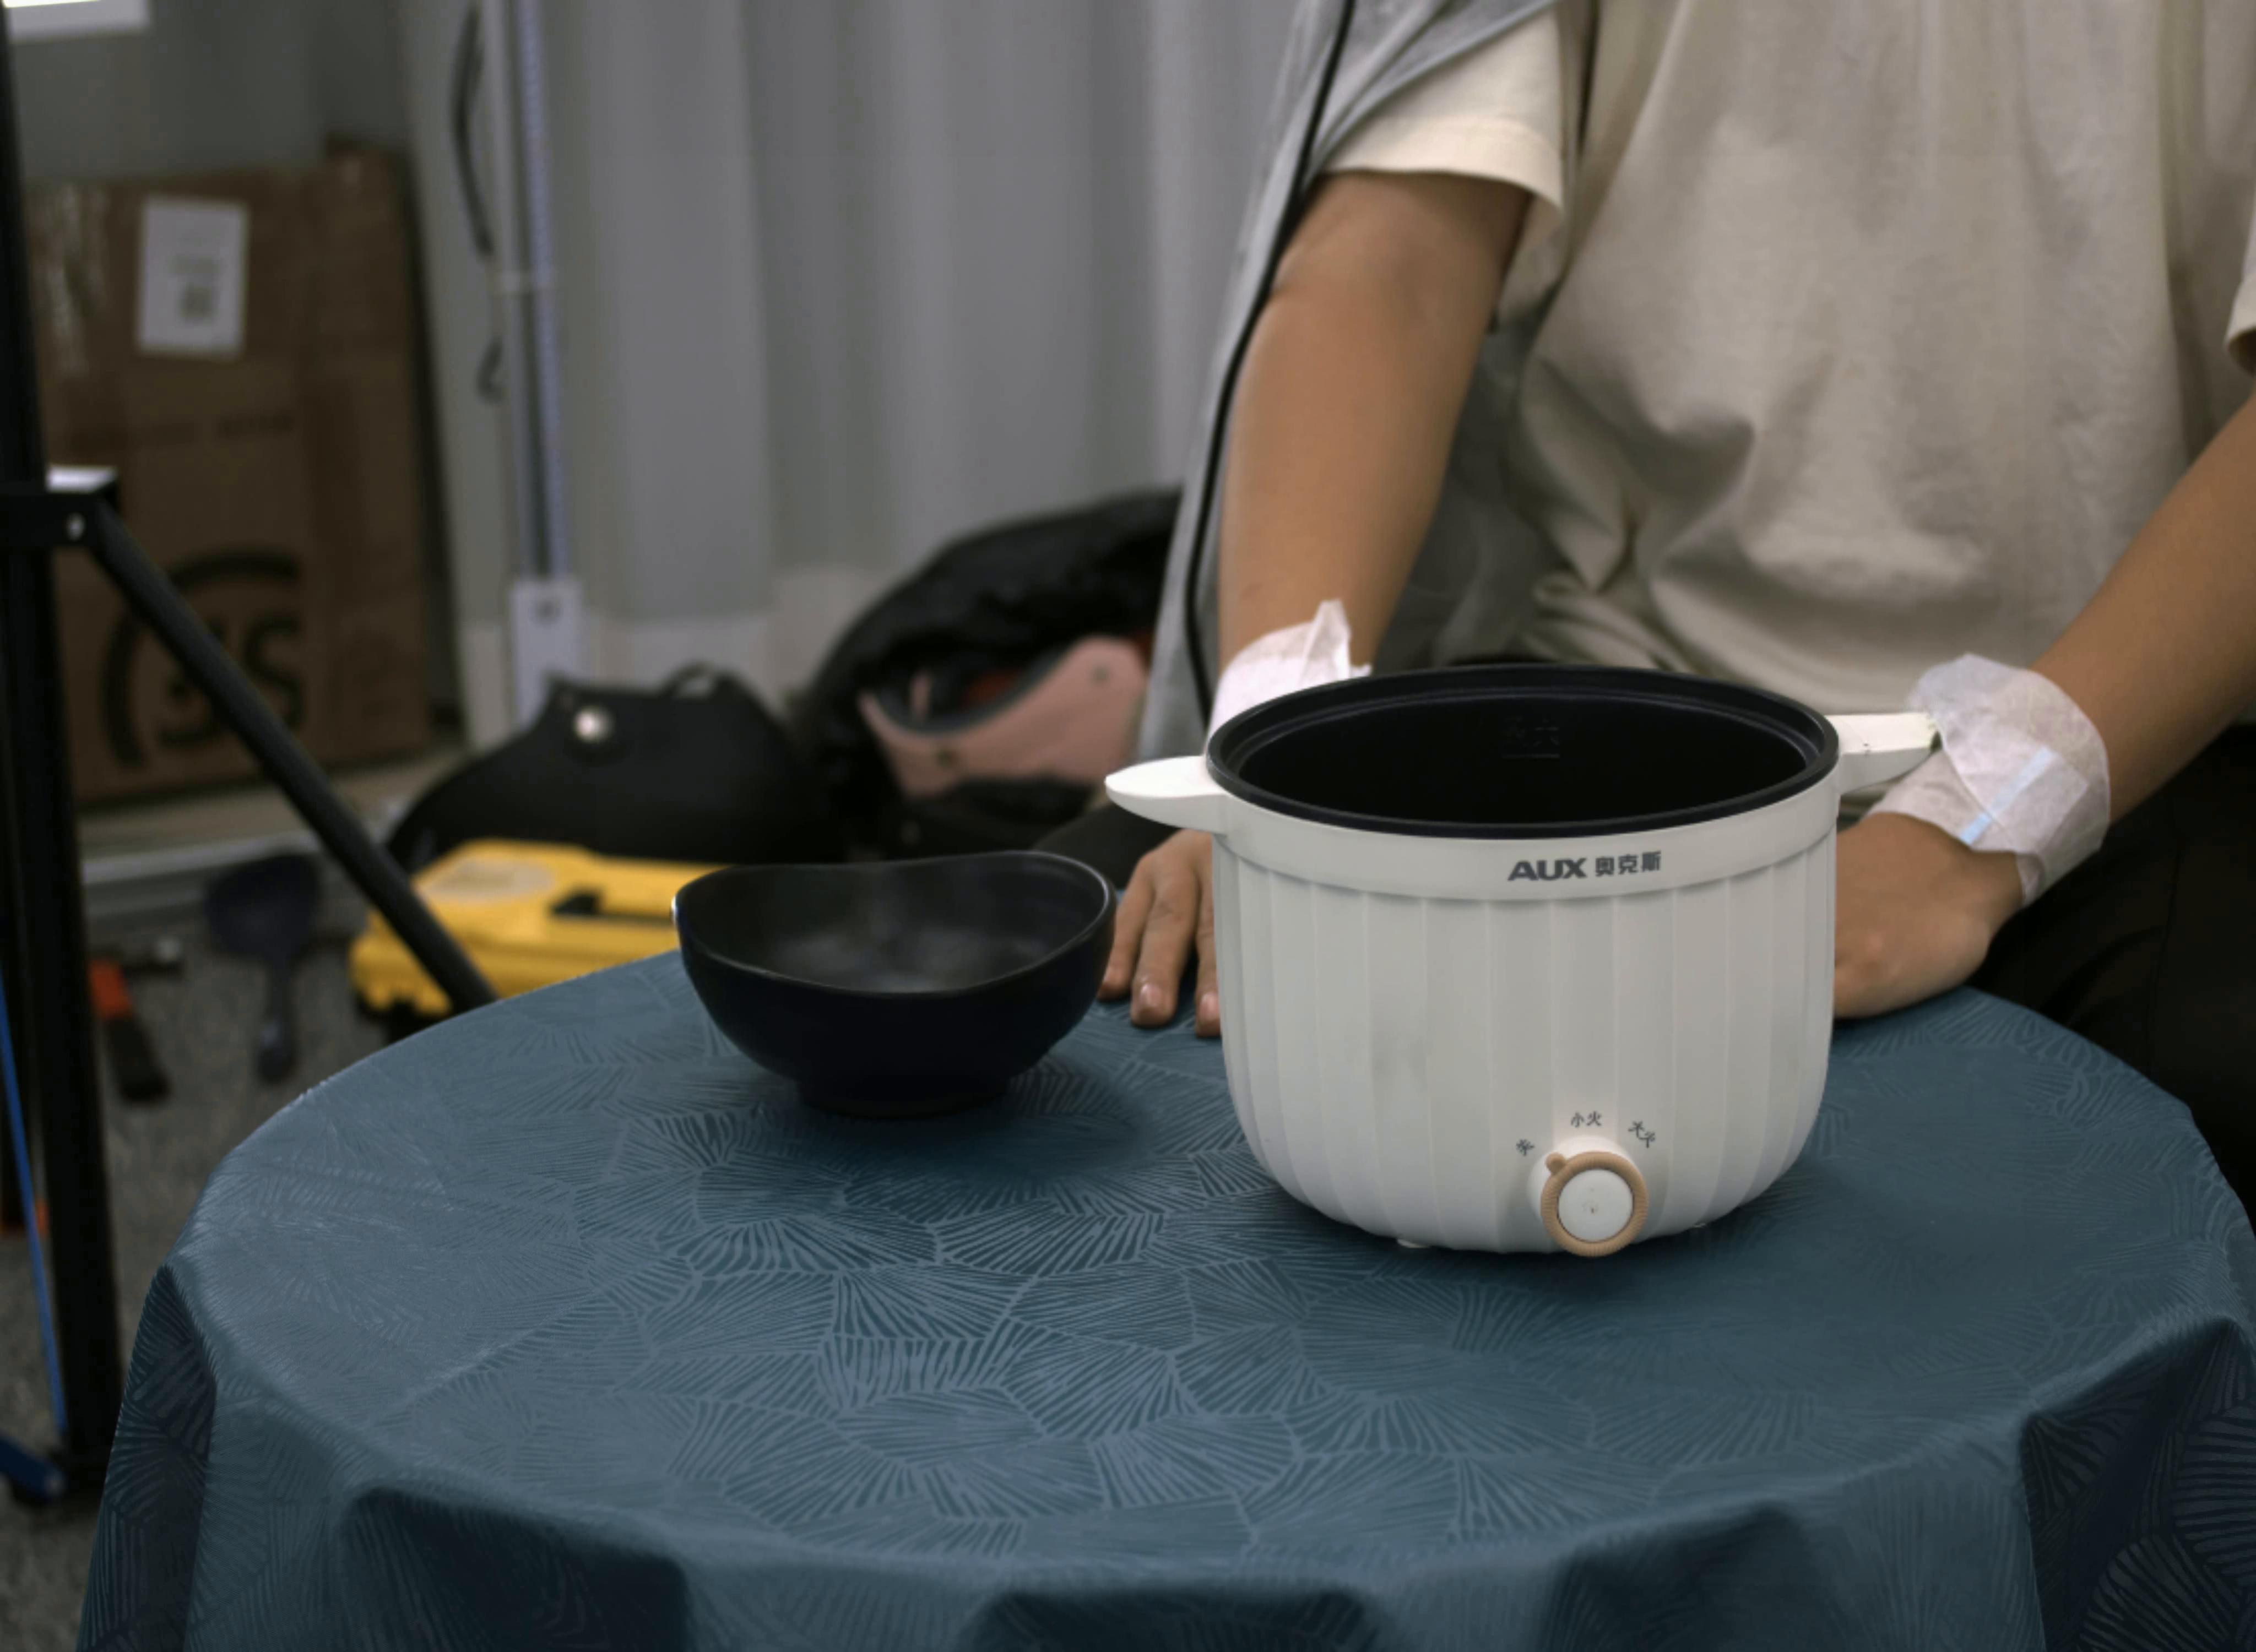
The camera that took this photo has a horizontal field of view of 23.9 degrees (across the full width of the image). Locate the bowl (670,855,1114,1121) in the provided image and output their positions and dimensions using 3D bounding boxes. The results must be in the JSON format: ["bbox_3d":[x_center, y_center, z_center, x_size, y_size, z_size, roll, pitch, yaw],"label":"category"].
[{"bbox_3d":[-0.073,0.051,1.651,0.136,0.067,0.172,-3,14,-6],"label":"bowl"}]

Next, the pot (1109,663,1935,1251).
[{"bbox_3d":[0.117,0.040,1.522,0.238,0.143,0.192,-5,12,-5],"label":"pot"}]
